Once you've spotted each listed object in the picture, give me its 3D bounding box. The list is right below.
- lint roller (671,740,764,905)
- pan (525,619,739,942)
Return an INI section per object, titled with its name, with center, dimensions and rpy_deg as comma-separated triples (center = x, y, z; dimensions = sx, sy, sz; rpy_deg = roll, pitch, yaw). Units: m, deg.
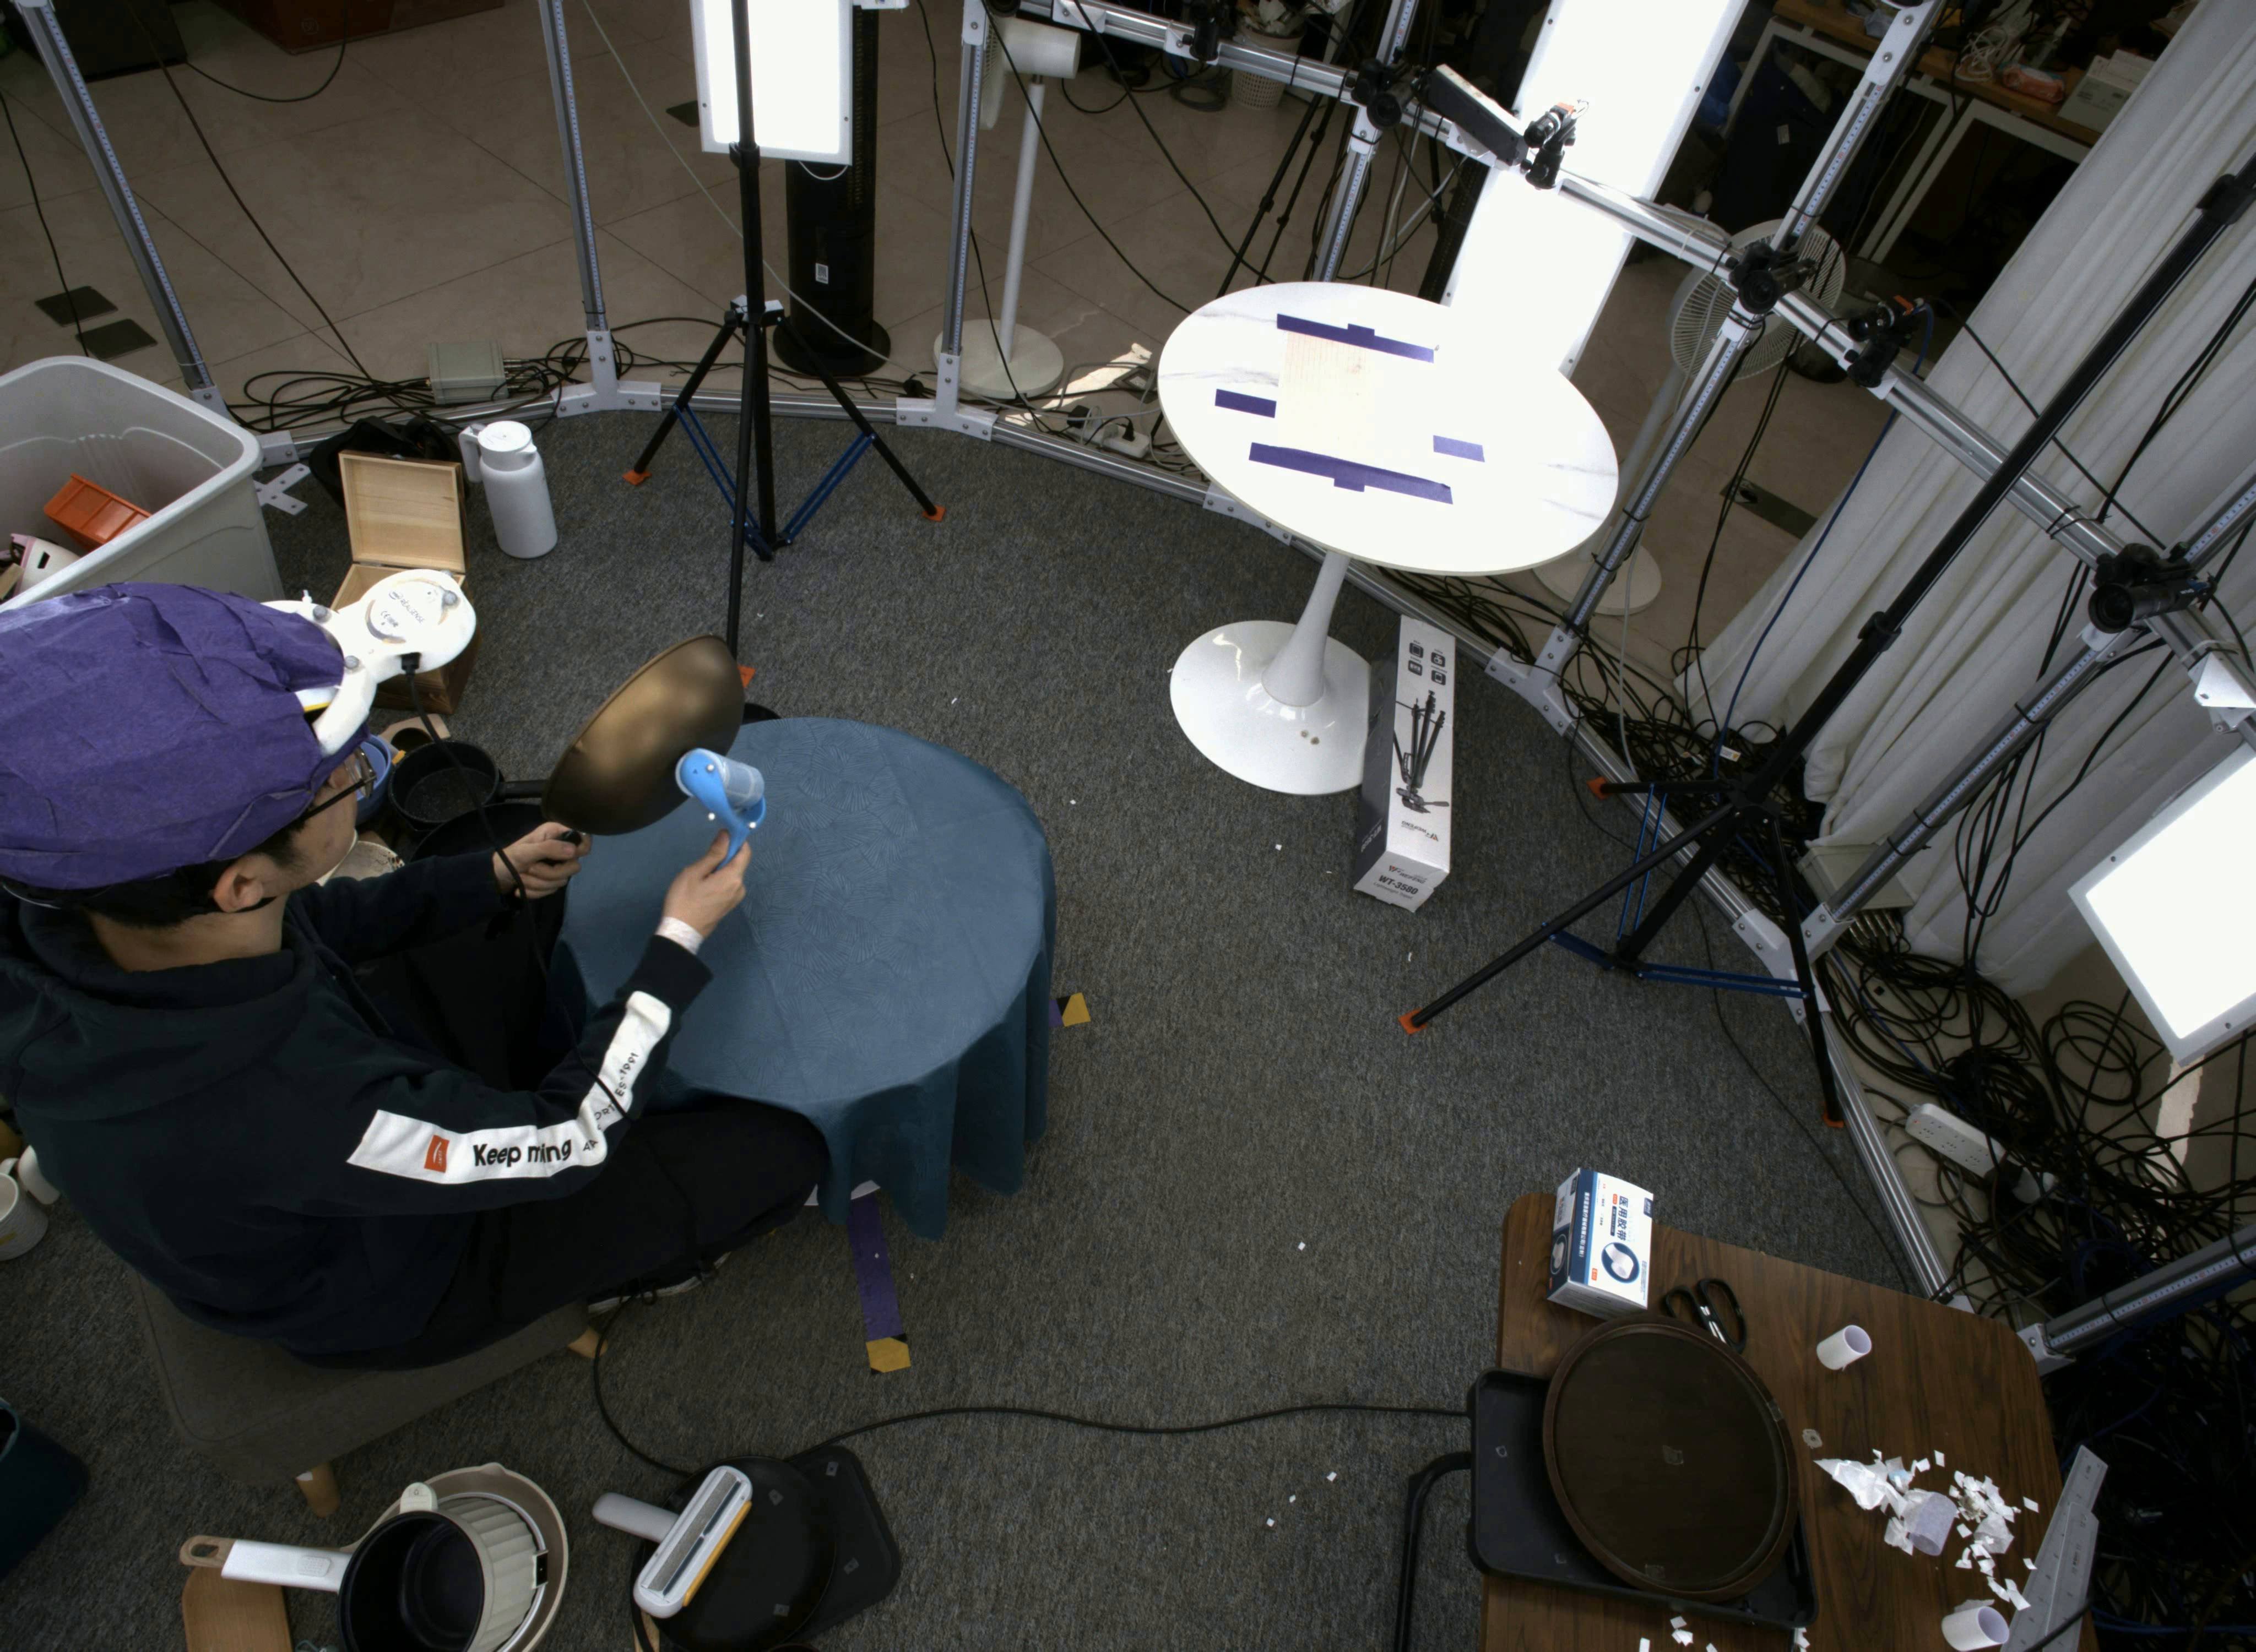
[lint roller]
center = -0.466, 0.000, 1.449
dimensions = 0.067, 0.227, 0.182
rpy_deg = 7, 91, -4
[pan]
center = -0.577, -0.022, 1.444
dimensions = 0.087, 0.465, 0.287
rpy_deg = 39, 14, 0
